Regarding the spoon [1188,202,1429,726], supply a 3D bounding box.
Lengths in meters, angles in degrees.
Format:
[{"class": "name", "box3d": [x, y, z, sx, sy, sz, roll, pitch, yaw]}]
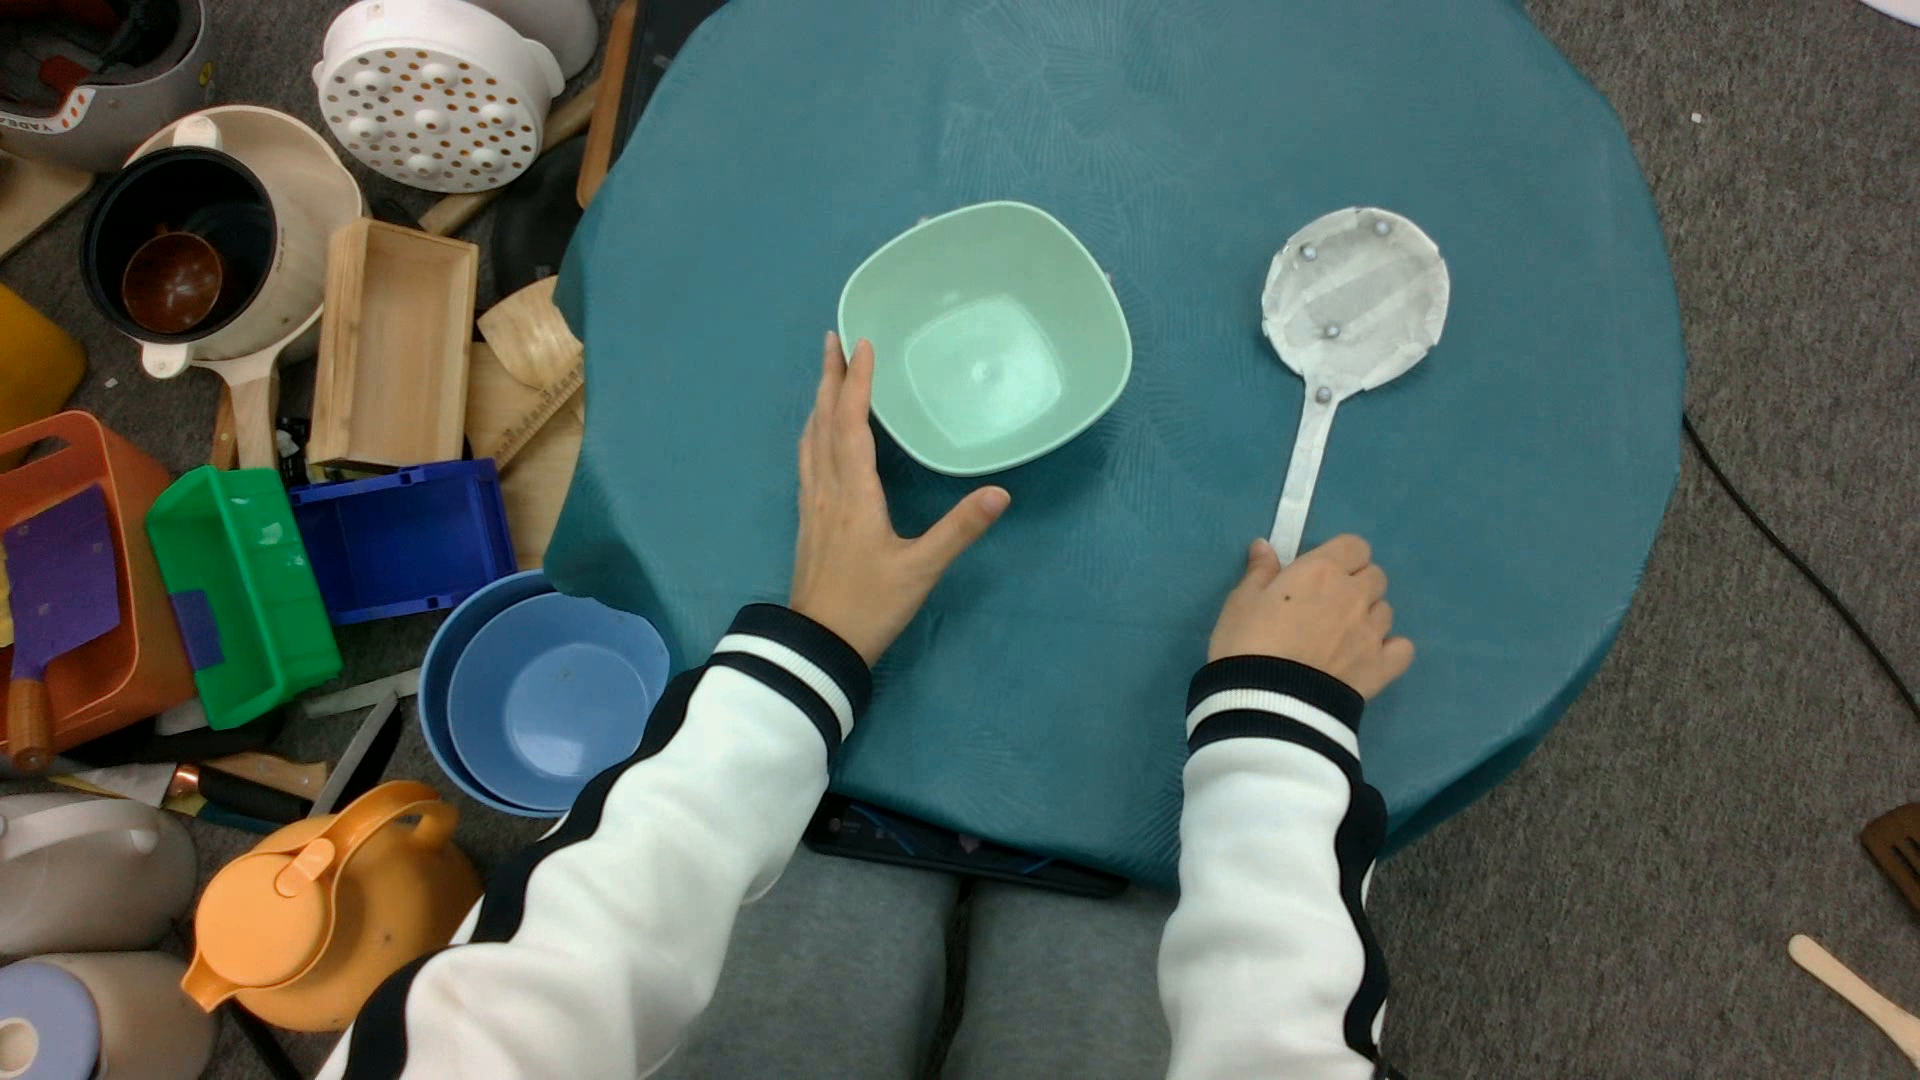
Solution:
[{"class": "spoon", "box3d": [0.160, -0.042, 0.699, 0.100, 0.059, 0.278, 18, 74, 11]}]

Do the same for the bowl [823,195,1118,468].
[{"class": "bowl", "box3d": [0.005, -0.100, 0.716, 0.151, 0.058, 0.152, 0, 74, -1]}]
